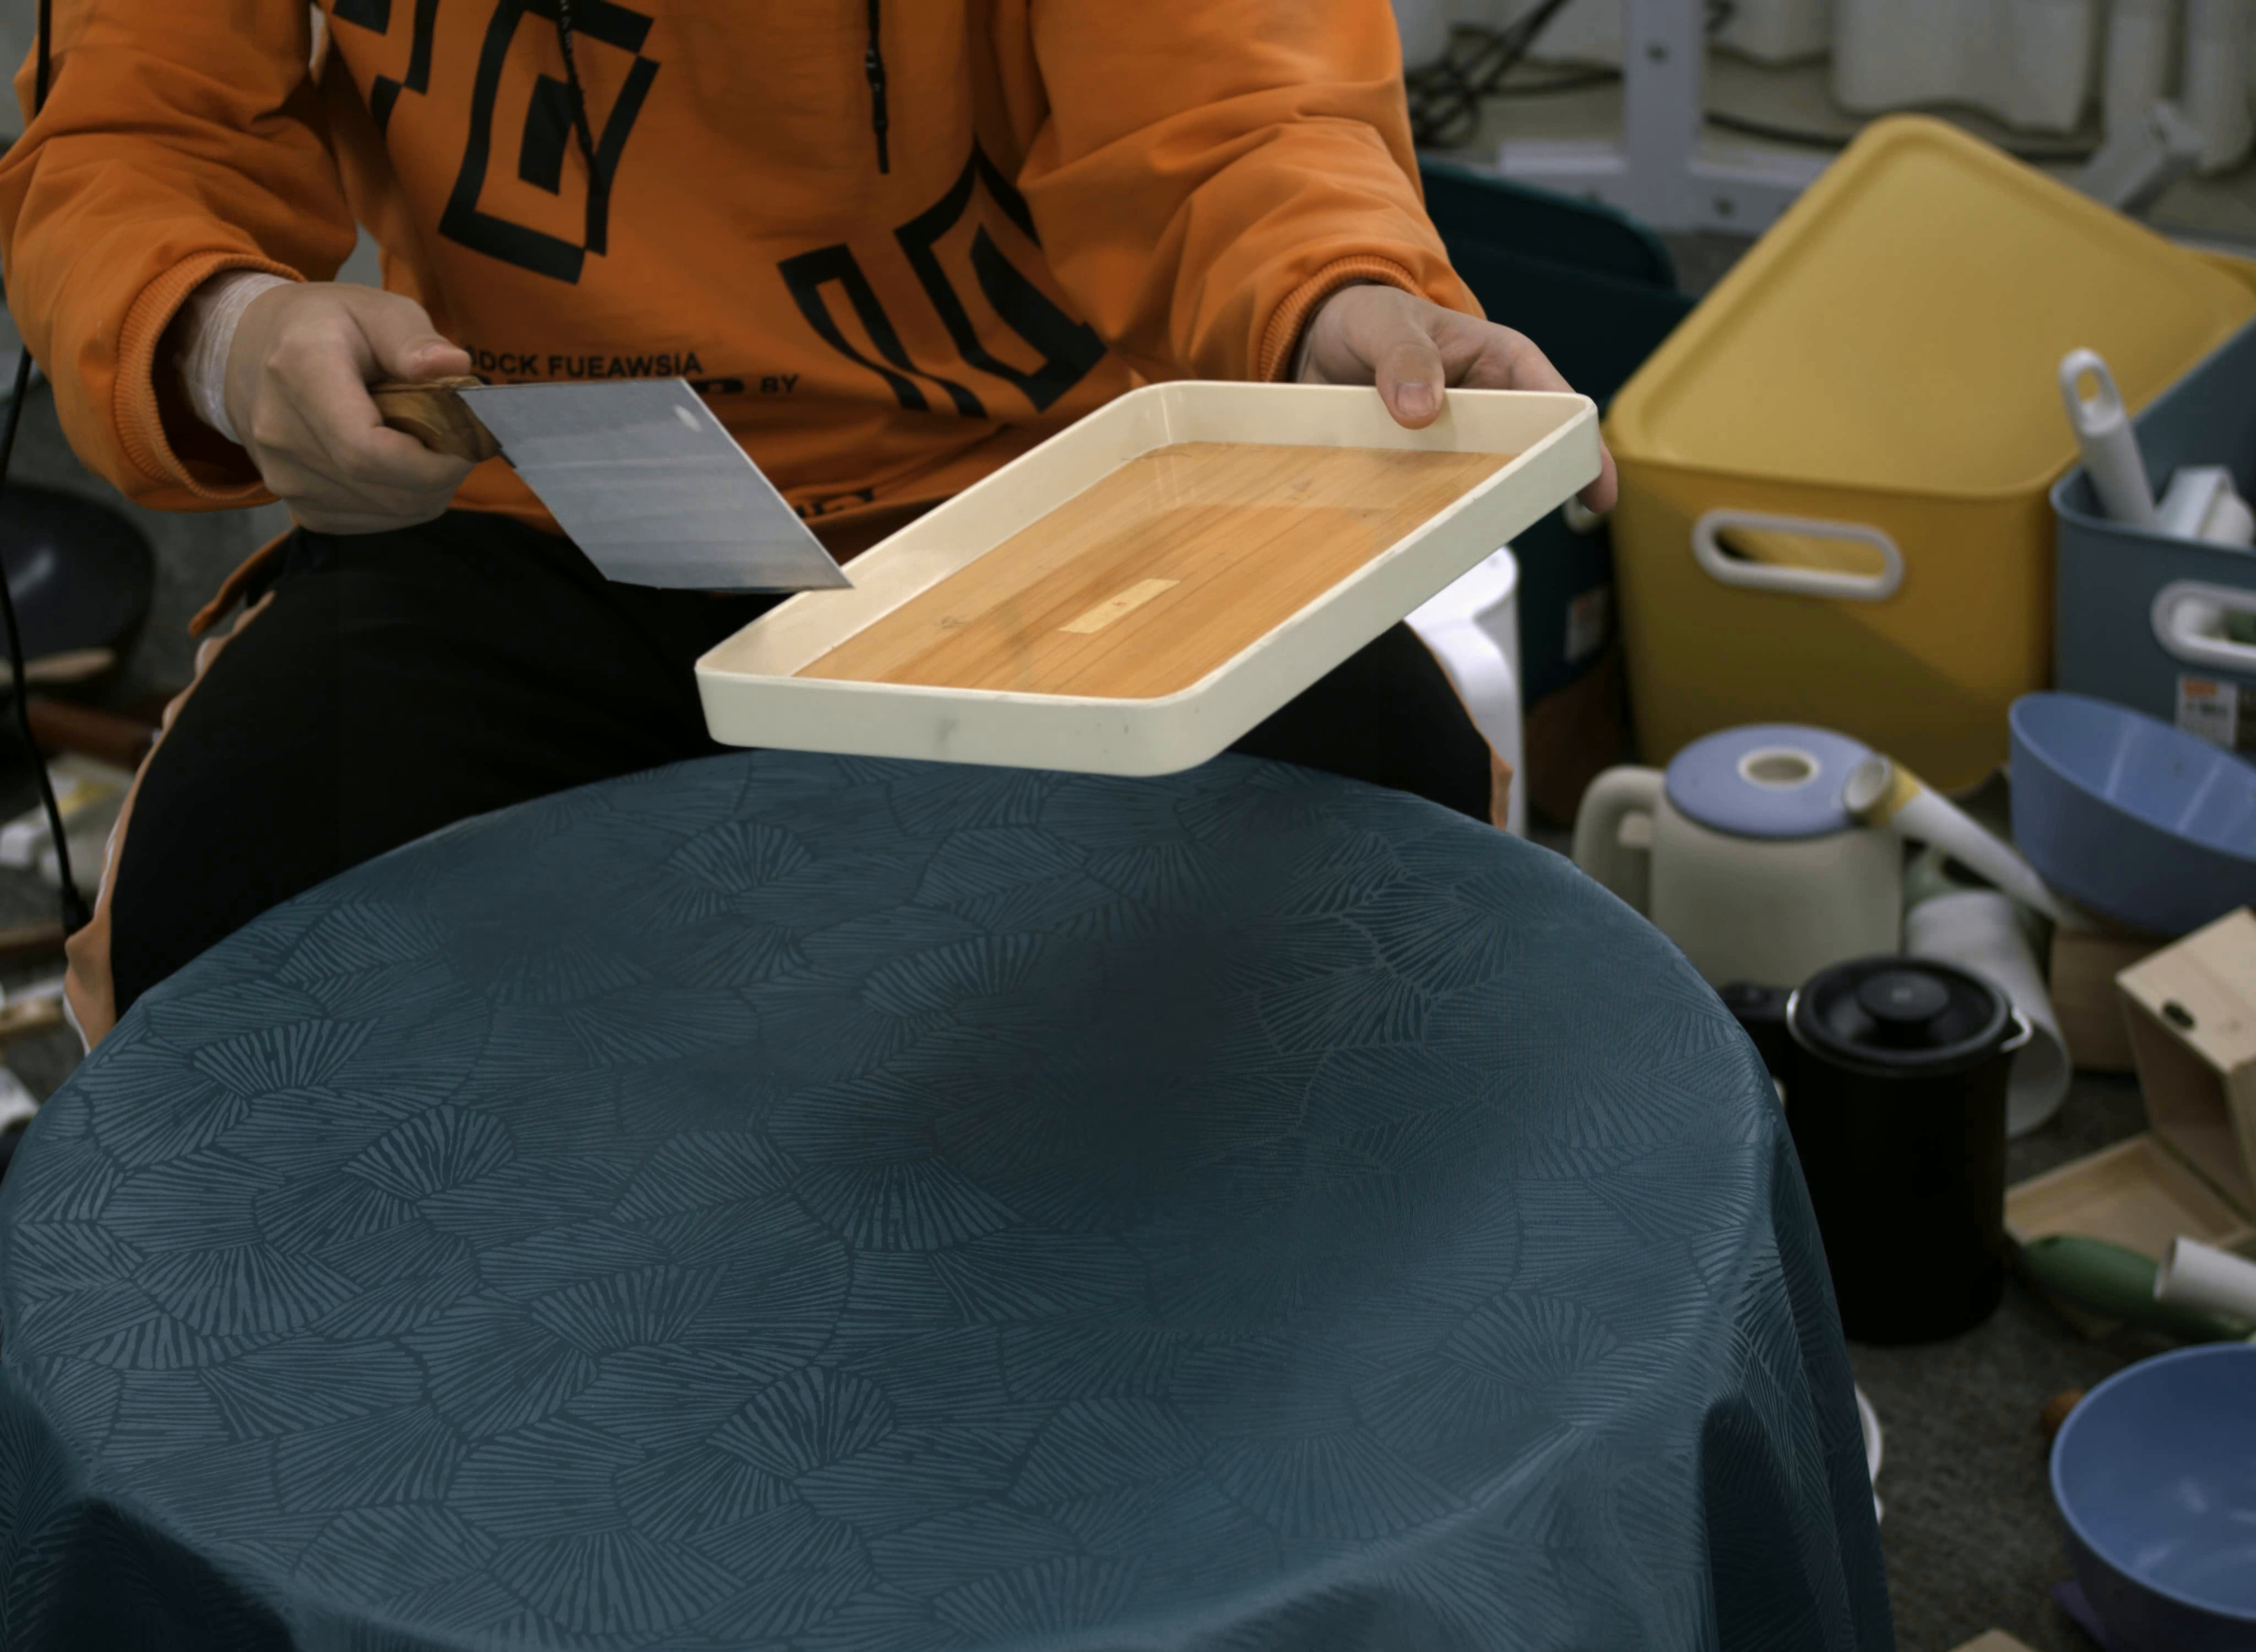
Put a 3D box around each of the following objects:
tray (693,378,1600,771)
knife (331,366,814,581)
[{"bbox_3d":[0.012,-0.088,1.866,0.190,0.027,0.305,4,24,32],"label":"tray"},{"bbox_3d":[-0.186,-0.116,1.886,0.021,0.092,0.304,-48,23,-18],"label":"knife"}]
